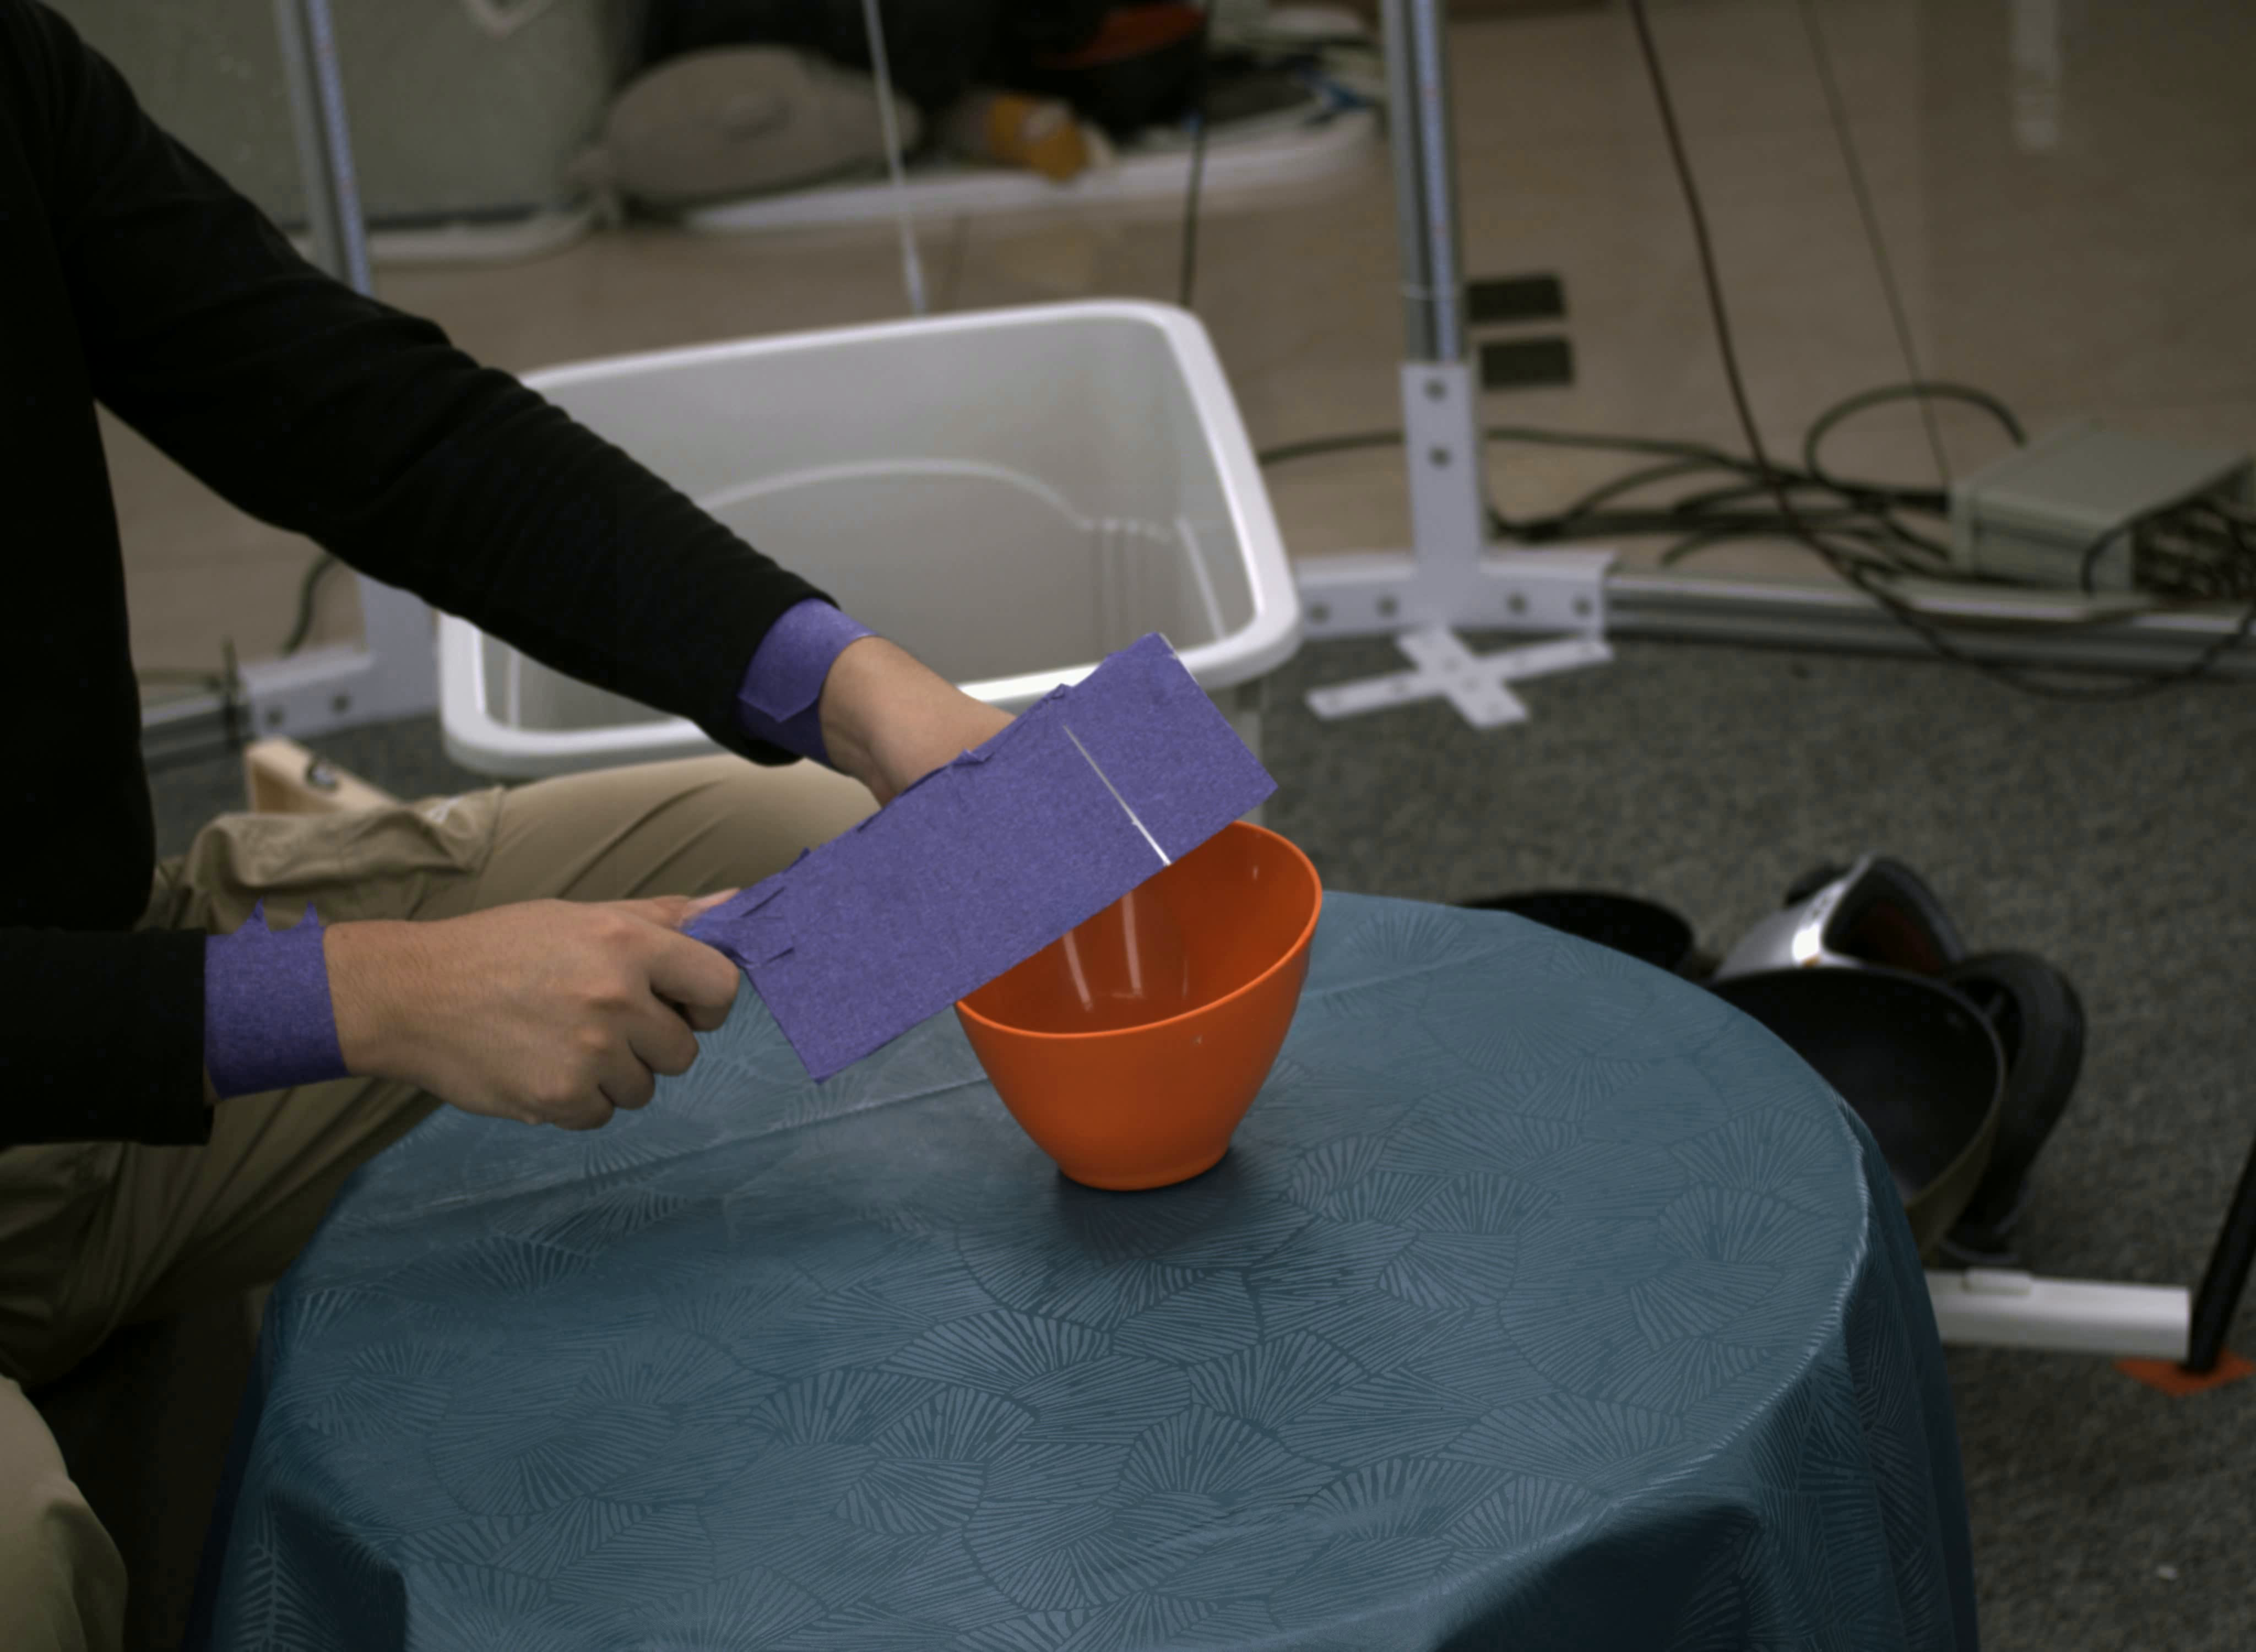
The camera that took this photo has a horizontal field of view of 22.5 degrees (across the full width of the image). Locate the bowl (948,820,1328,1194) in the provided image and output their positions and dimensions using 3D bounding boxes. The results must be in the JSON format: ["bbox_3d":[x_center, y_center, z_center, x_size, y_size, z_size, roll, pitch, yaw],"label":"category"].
[{"bbox_3d":[0.006,0.075,2.162,0.148,0.106,0.146,-5,25,2],"label":"bowl"}]

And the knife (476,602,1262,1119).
[{"bbox_3d":[-0.097,0.033,2.144,0.315,0.032,0.102,-34,60,-1],"label":"knife"}]
